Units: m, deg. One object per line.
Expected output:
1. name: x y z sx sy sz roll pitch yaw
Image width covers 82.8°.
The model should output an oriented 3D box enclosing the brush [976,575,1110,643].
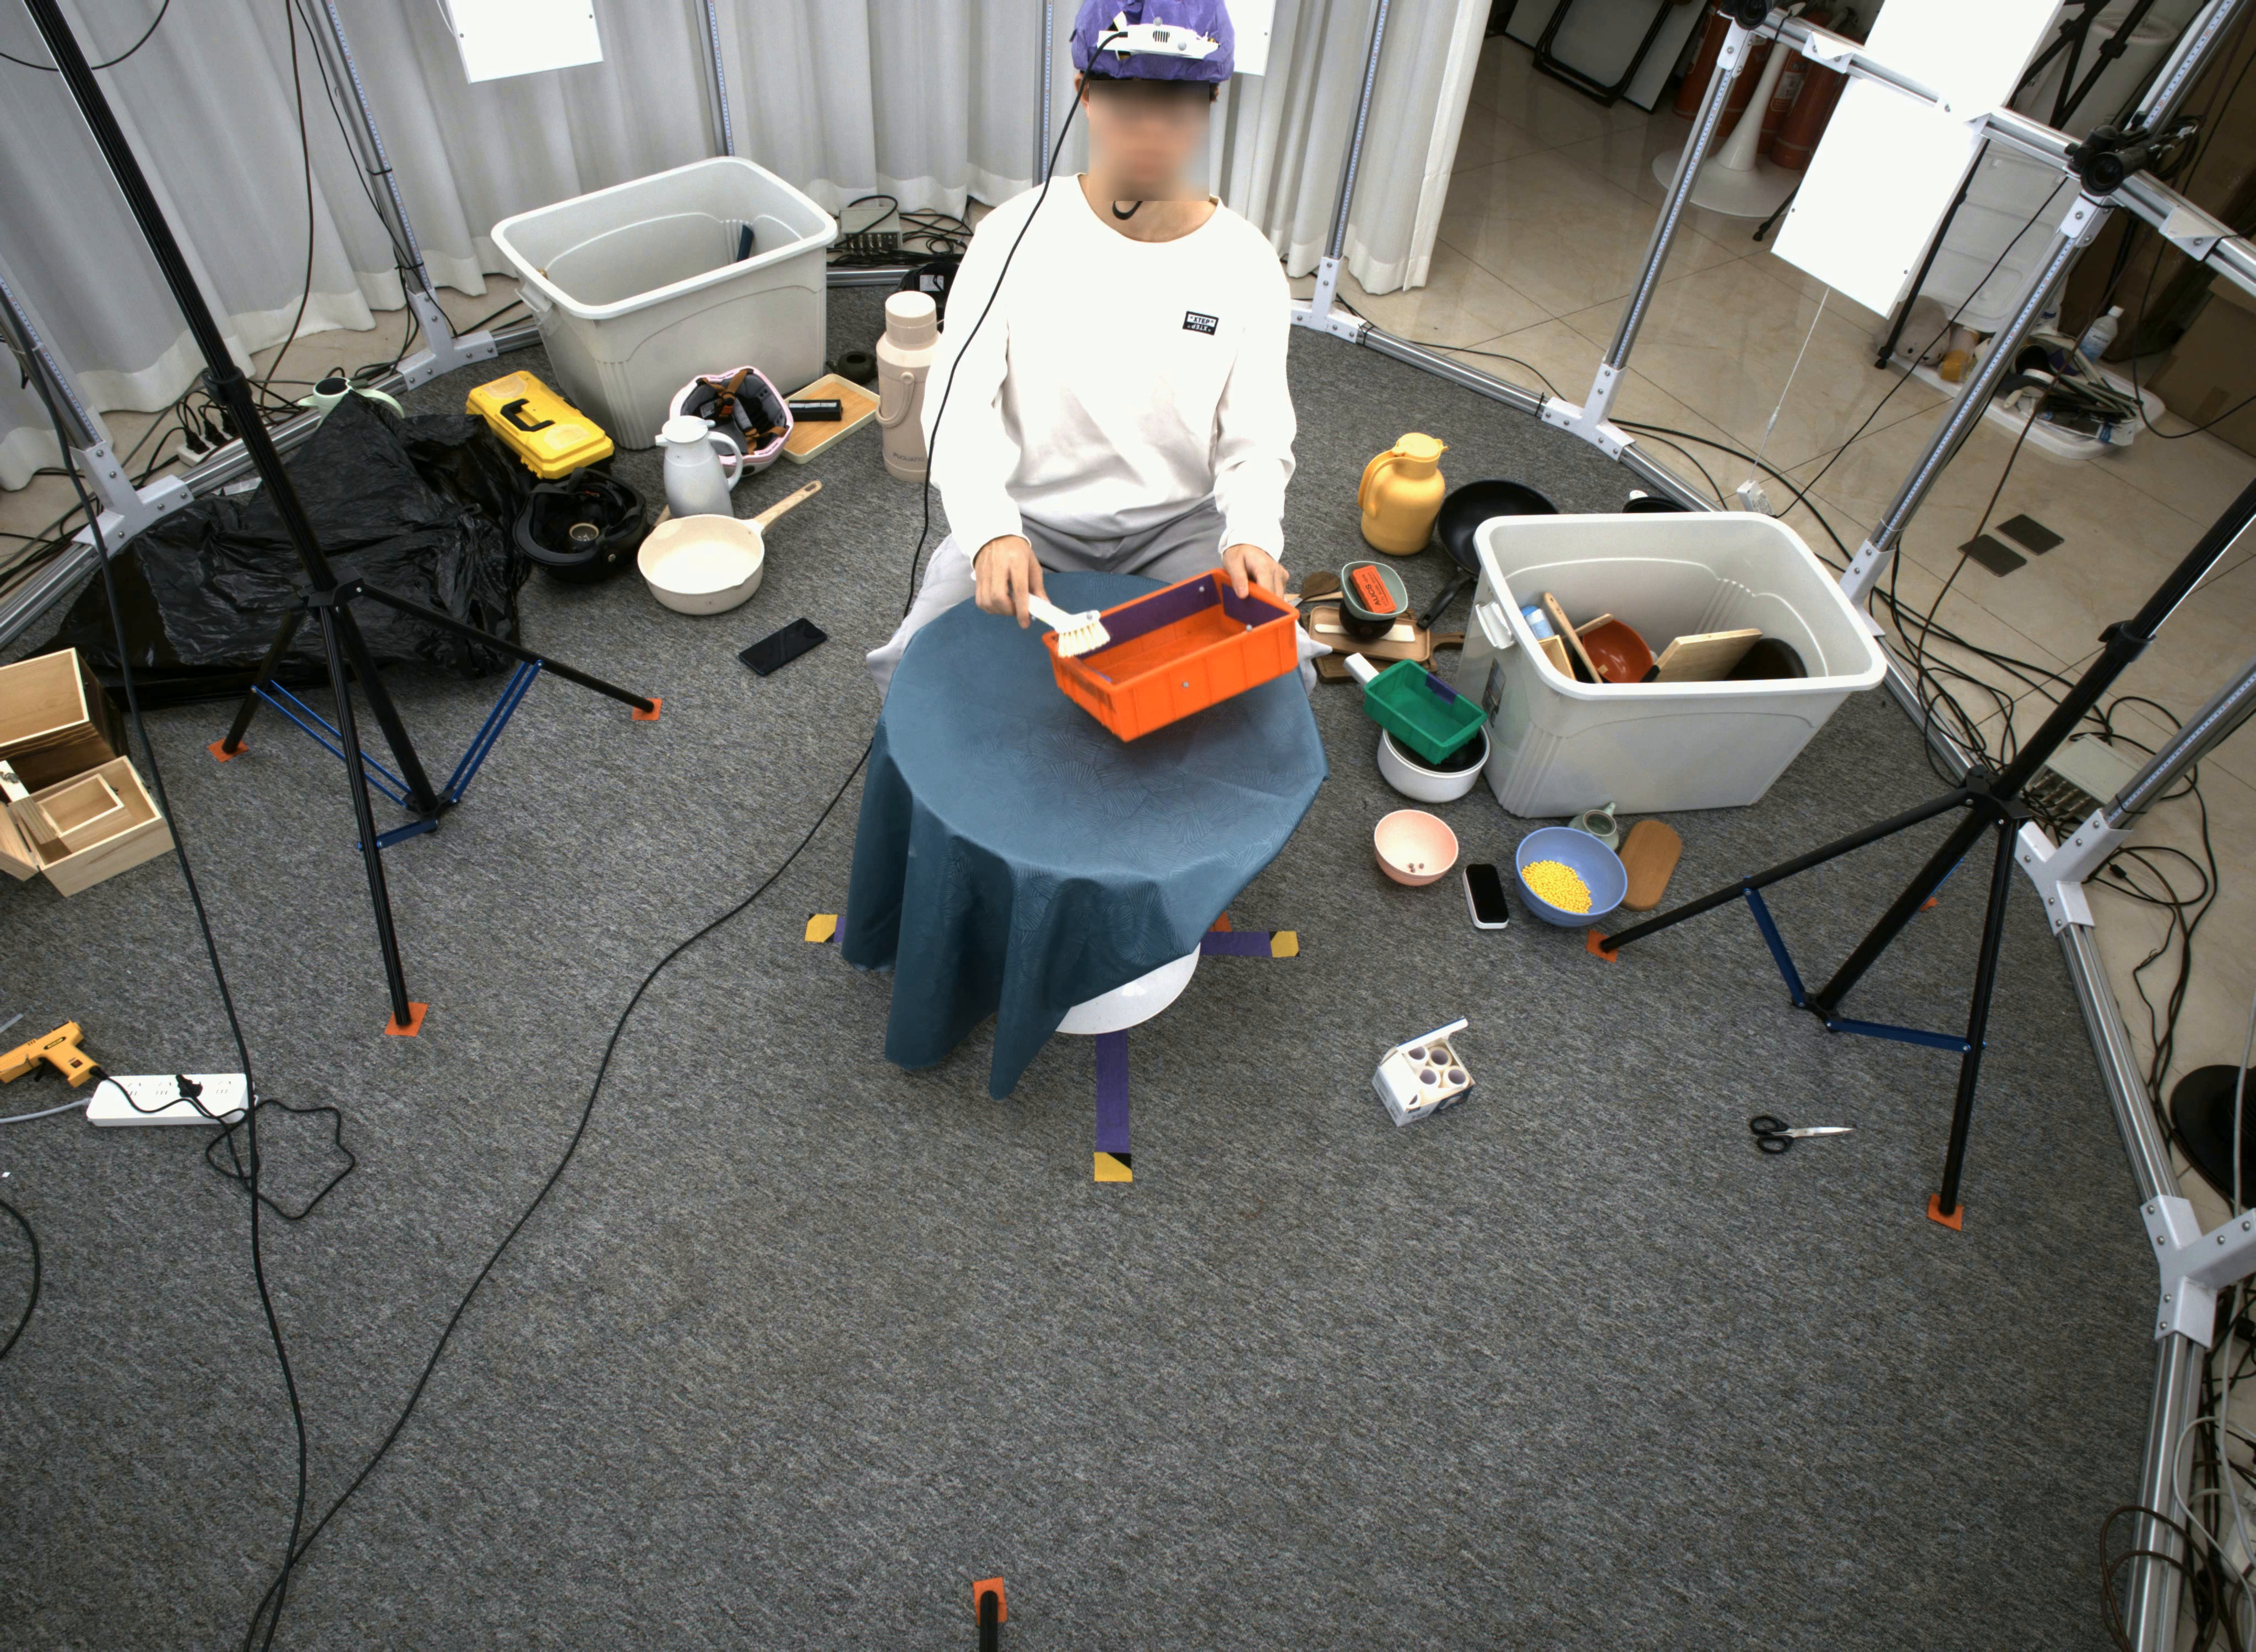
1. brush: -0.119 -0.287 1.706 0.068 0.055 0.270 -15 26 -36

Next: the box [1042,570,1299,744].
1. box: 0.060 -0.231 1.743 0.304 0.094 0.210 -23 35 -19
